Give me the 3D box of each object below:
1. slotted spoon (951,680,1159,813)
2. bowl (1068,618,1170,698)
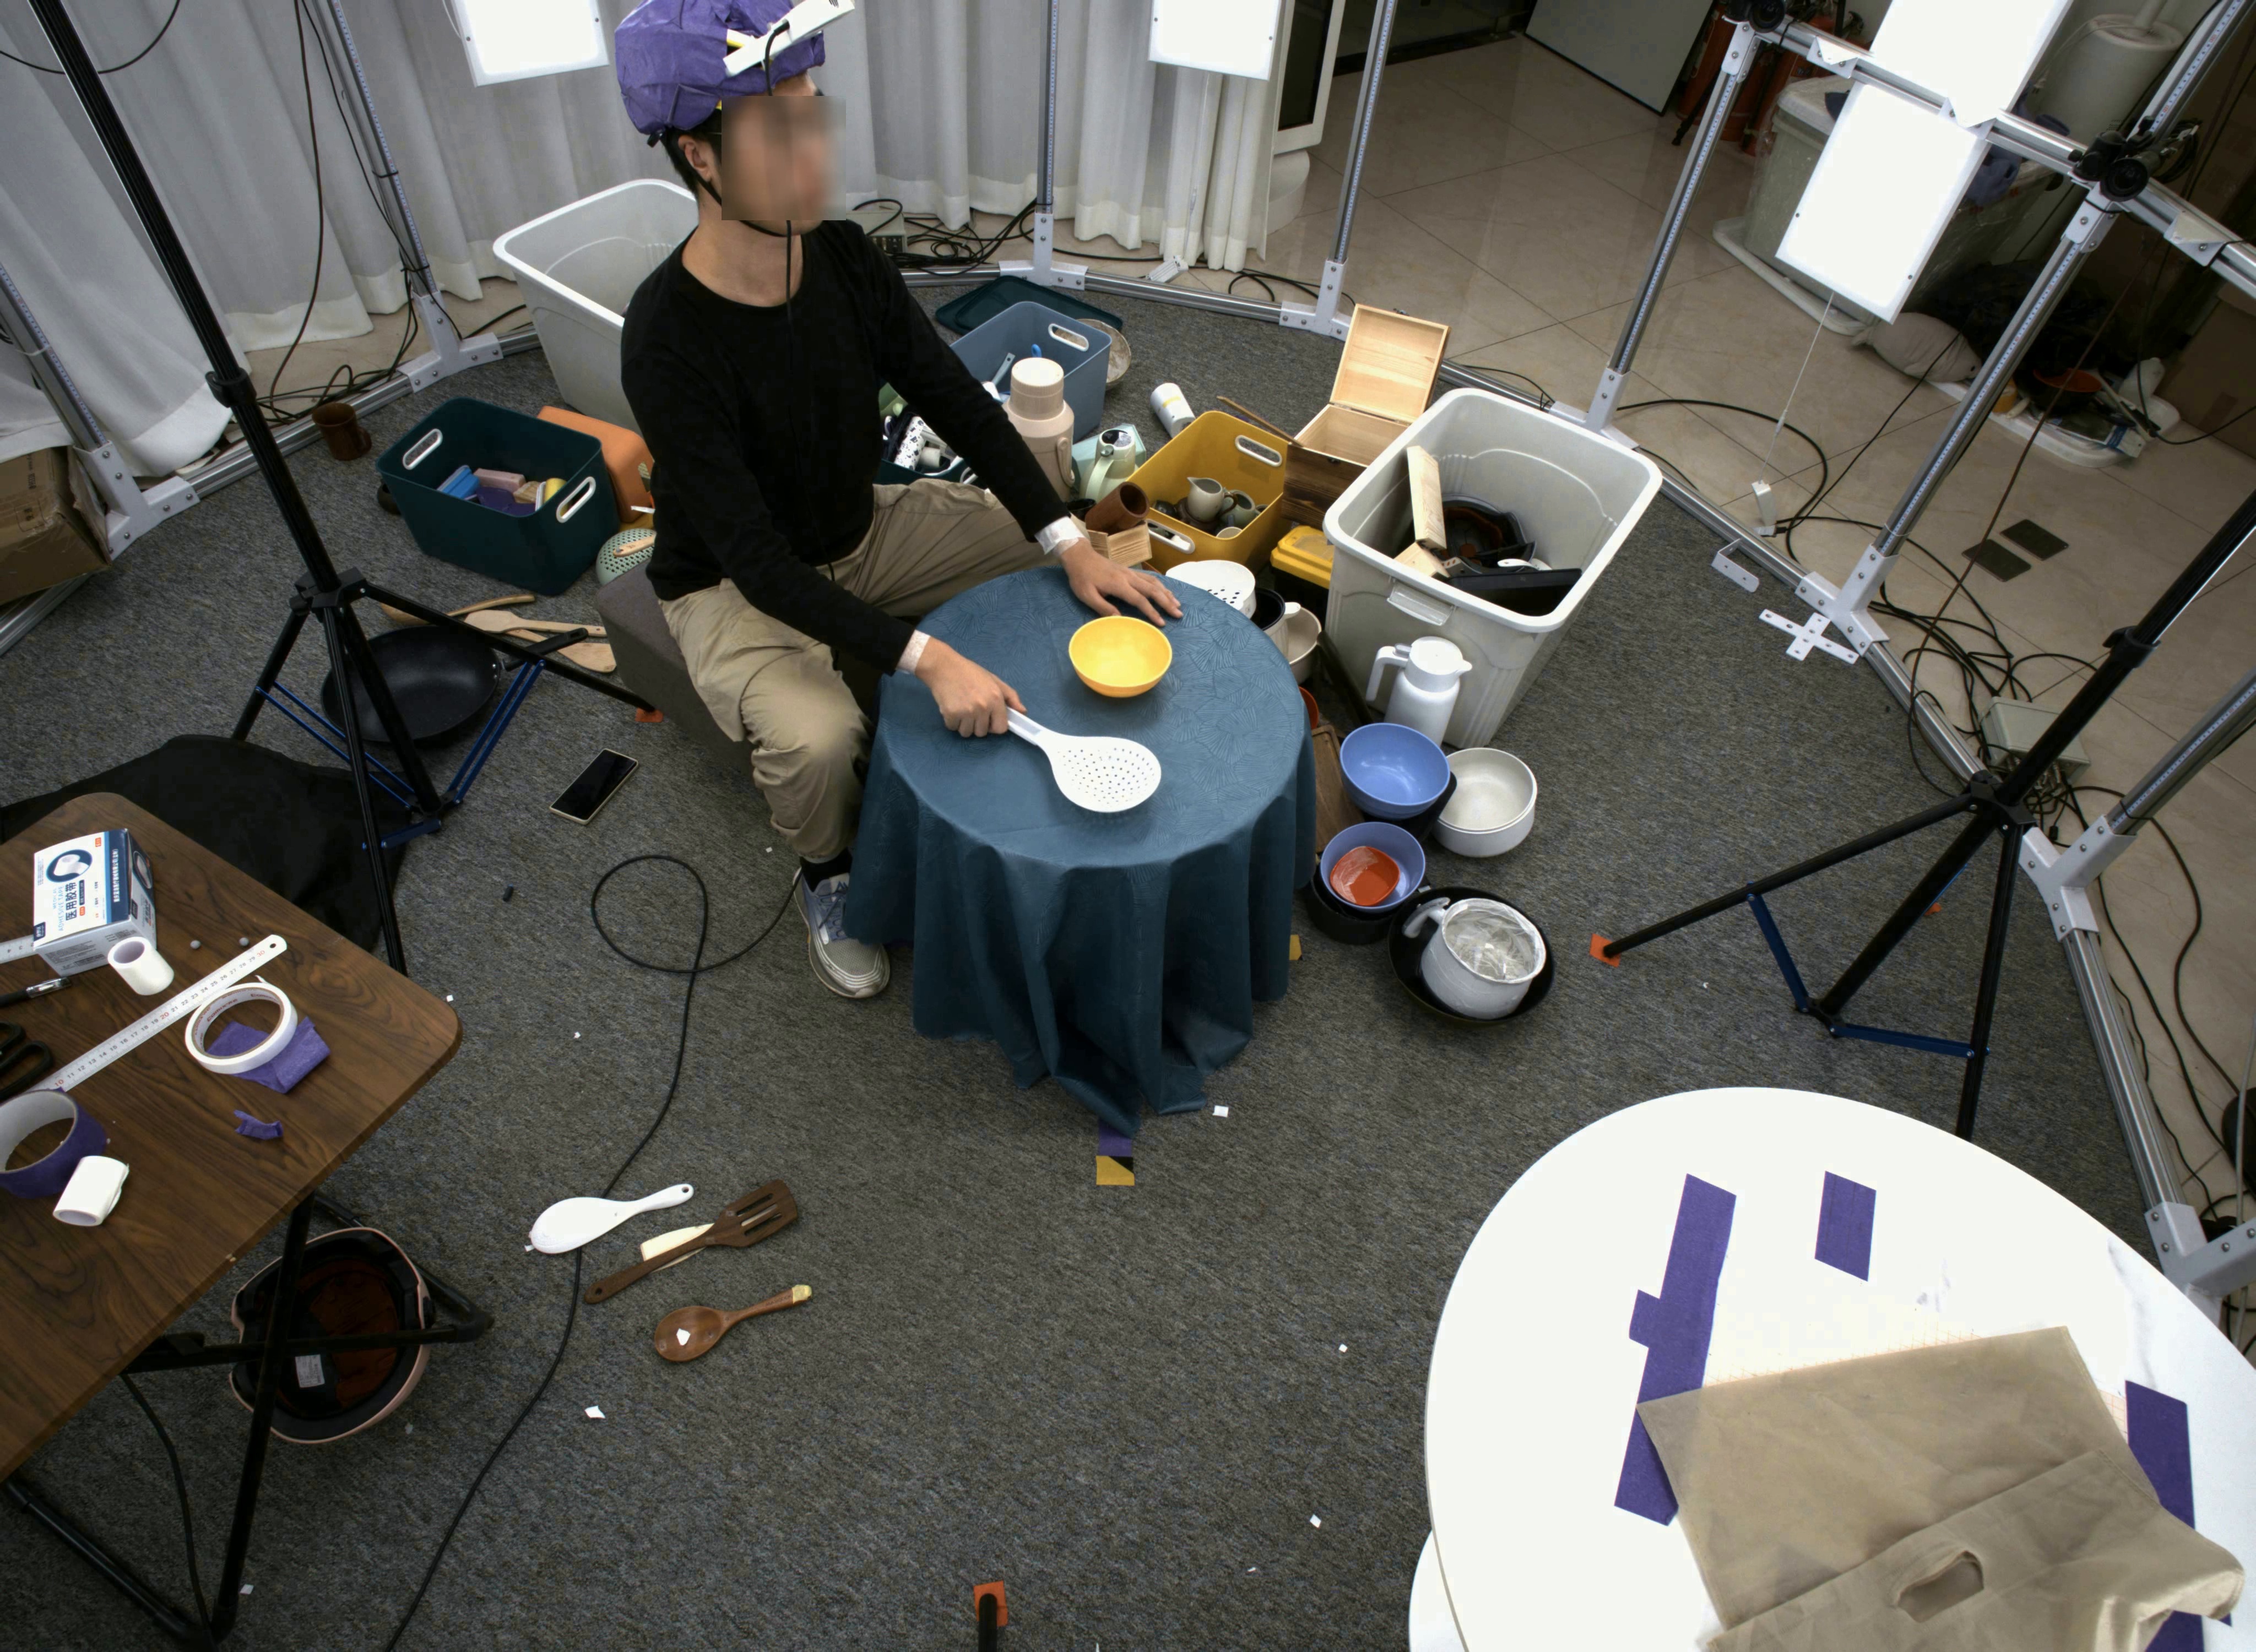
[{"bbox_3d":[-0.109,-0.114,1.732,0.354,0.044,0.137,34,56,24],"label":"slotted spoon"},{"bbox_3d":[-0.015,-0.228,1.831,0.145,0.058,0.149,3,48,-4],"label":"bowl"}]
